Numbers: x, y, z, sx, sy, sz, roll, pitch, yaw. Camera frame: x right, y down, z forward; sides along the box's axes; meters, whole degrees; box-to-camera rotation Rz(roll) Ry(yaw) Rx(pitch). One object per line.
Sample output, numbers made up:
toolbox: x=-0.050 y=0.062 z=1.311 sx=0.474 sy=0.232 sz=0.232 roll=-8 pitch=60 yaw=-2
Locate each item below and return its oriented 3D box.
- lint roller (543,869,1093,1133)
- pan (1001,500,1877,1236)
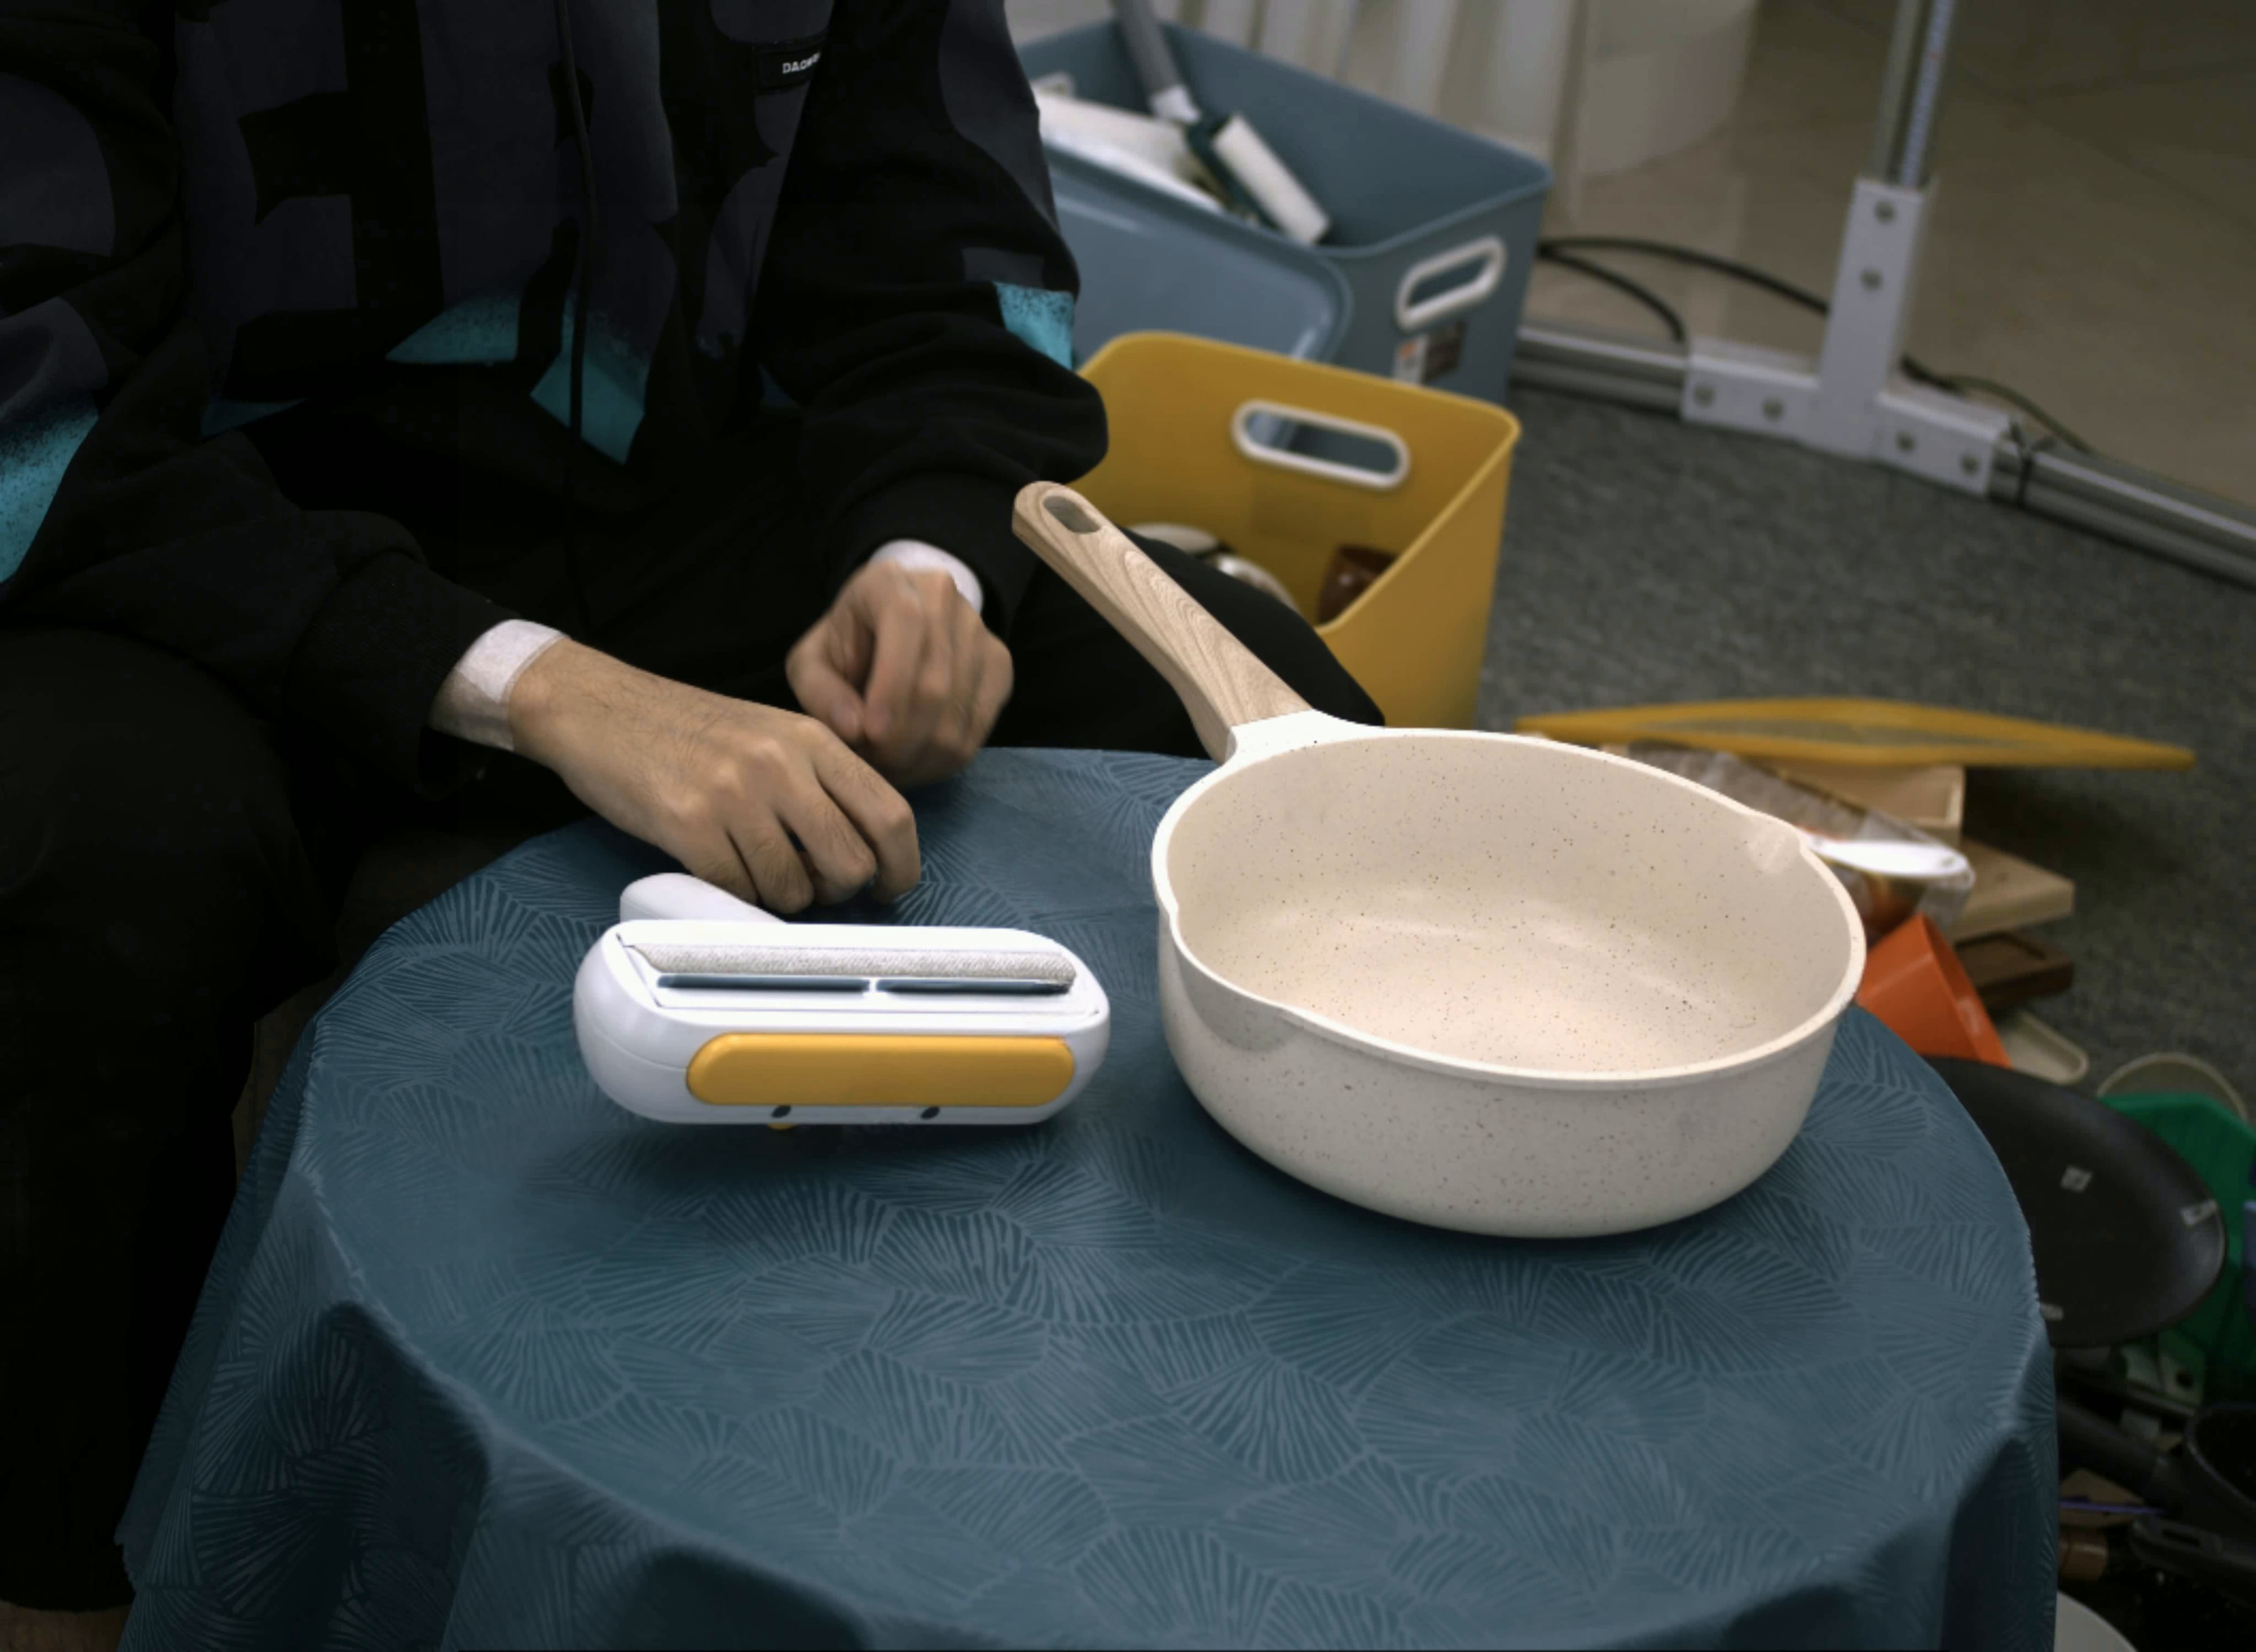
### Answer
lint roller: x=-0.127 y=0.048 z=1.844 sx=0.191 sy=0.074 sz=0.194 roll=-1 pitch=26 yaw=-25
pan: x=0.081 y=0.011 z=1.928 sx=0.262 sy=0.101 sz=0.439 roll=-15 pitch=34 yaw=-31
